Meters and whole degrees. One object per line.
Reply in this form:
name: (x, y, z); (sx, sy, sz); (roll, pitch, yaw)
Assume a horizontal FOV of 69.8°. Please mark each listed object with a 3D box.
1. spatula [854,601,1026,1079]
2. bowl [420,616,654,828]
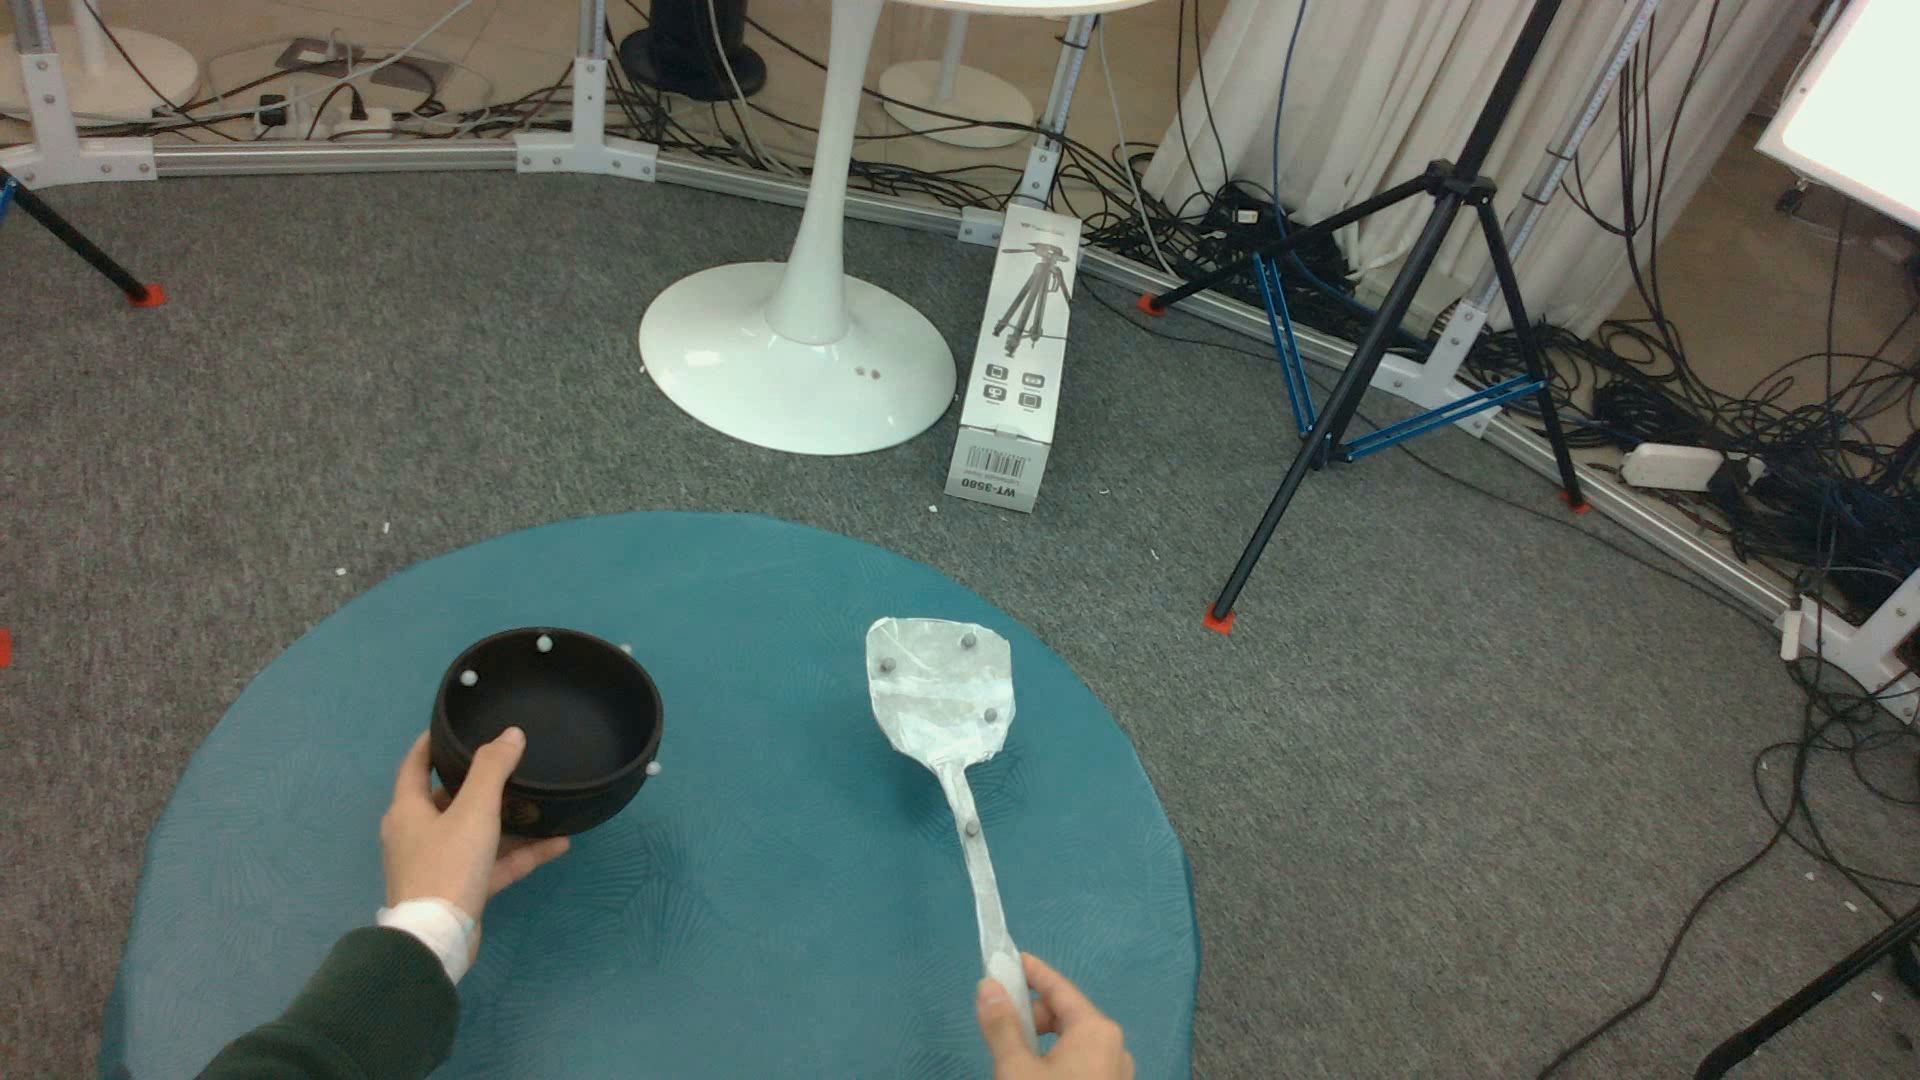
spatula: (0.004, 0.169, 0.755); (0.099, 0.044, 0.366); (9, 35, -20)
bowl: (-0.230, 0.105, 0.744); (0.118, 0.069, 0.118); (15, 38, -11)
